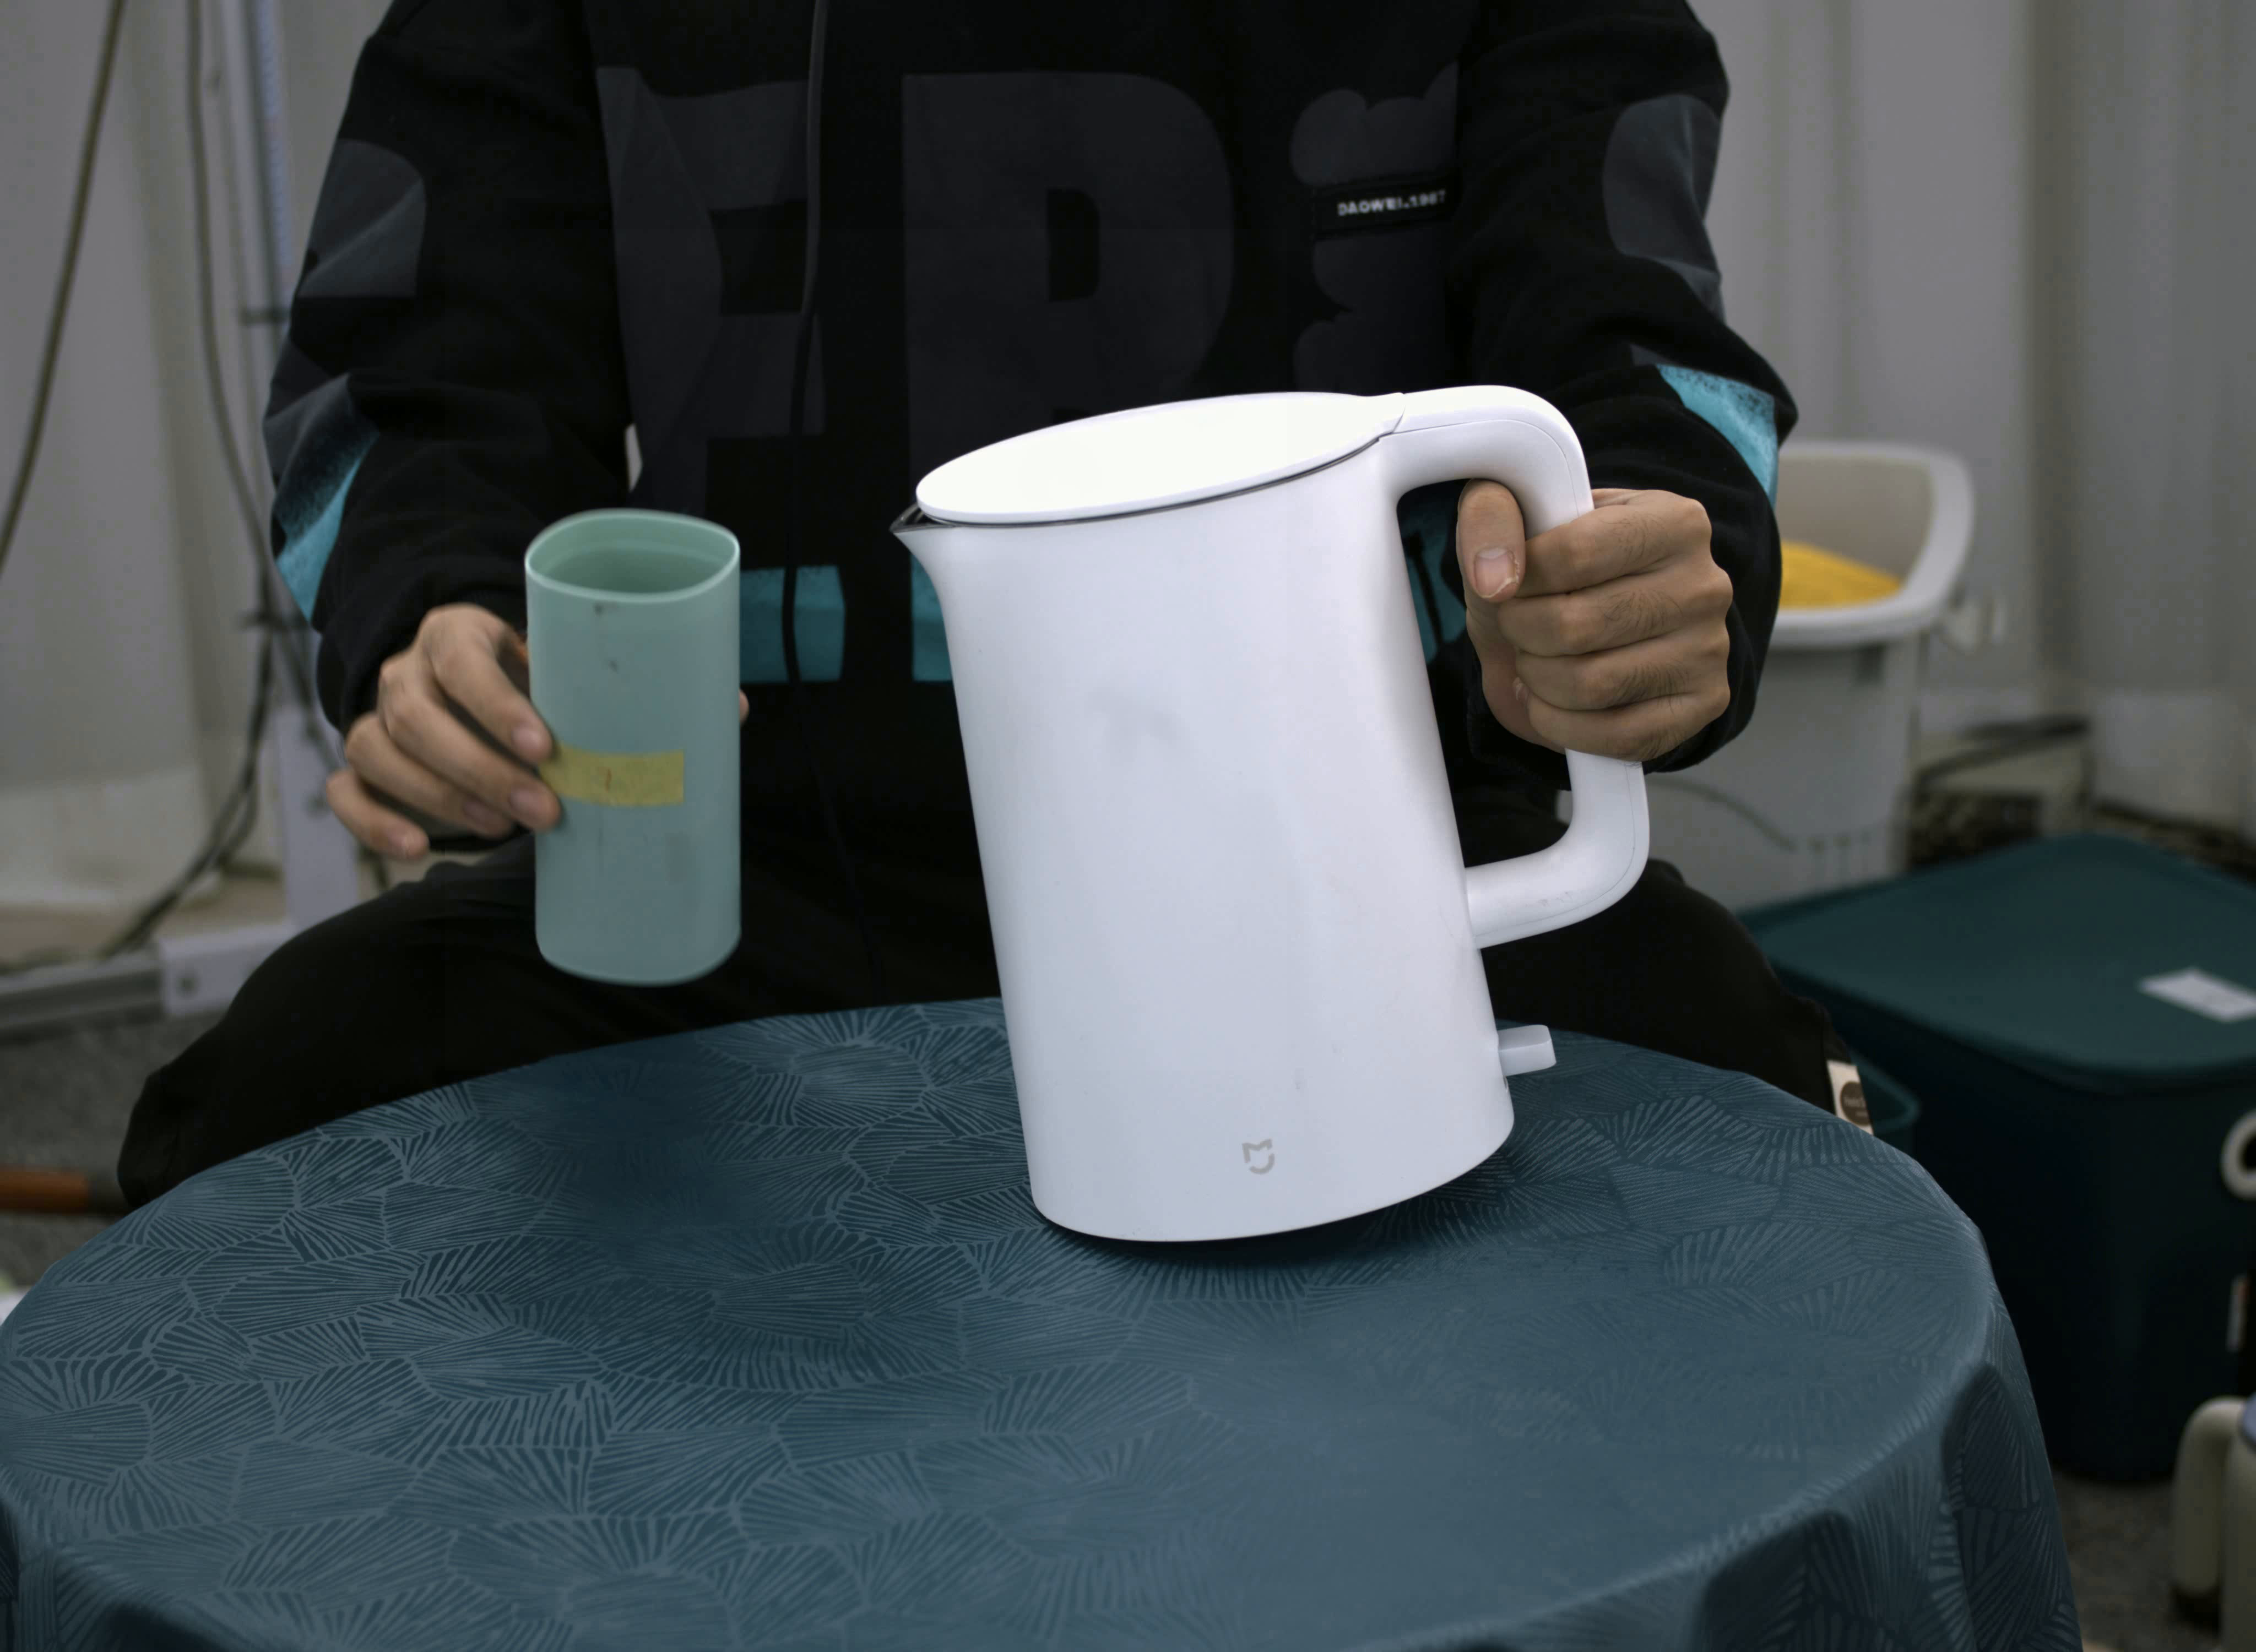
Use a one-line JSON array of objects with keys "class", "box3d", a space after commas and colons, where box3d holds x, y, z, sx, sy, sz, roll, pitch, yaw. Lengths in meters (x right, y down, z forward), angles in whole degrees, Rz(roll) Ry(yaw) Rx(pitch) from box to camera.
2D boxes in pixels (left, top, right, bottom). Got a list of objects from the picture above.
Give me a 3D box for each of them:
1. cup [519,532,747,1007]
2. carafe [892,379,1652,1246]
[{"class": "cup", "box3d": [-0.149, -0.018, 1.672, 0.066, 0.131, 0.067, 0, 26, 0]}, {"class": "carafe", "box3d": [0.052, -0.010, 1.677, 0.212, 0.239, 0.153, -11, 14, 2]}]
